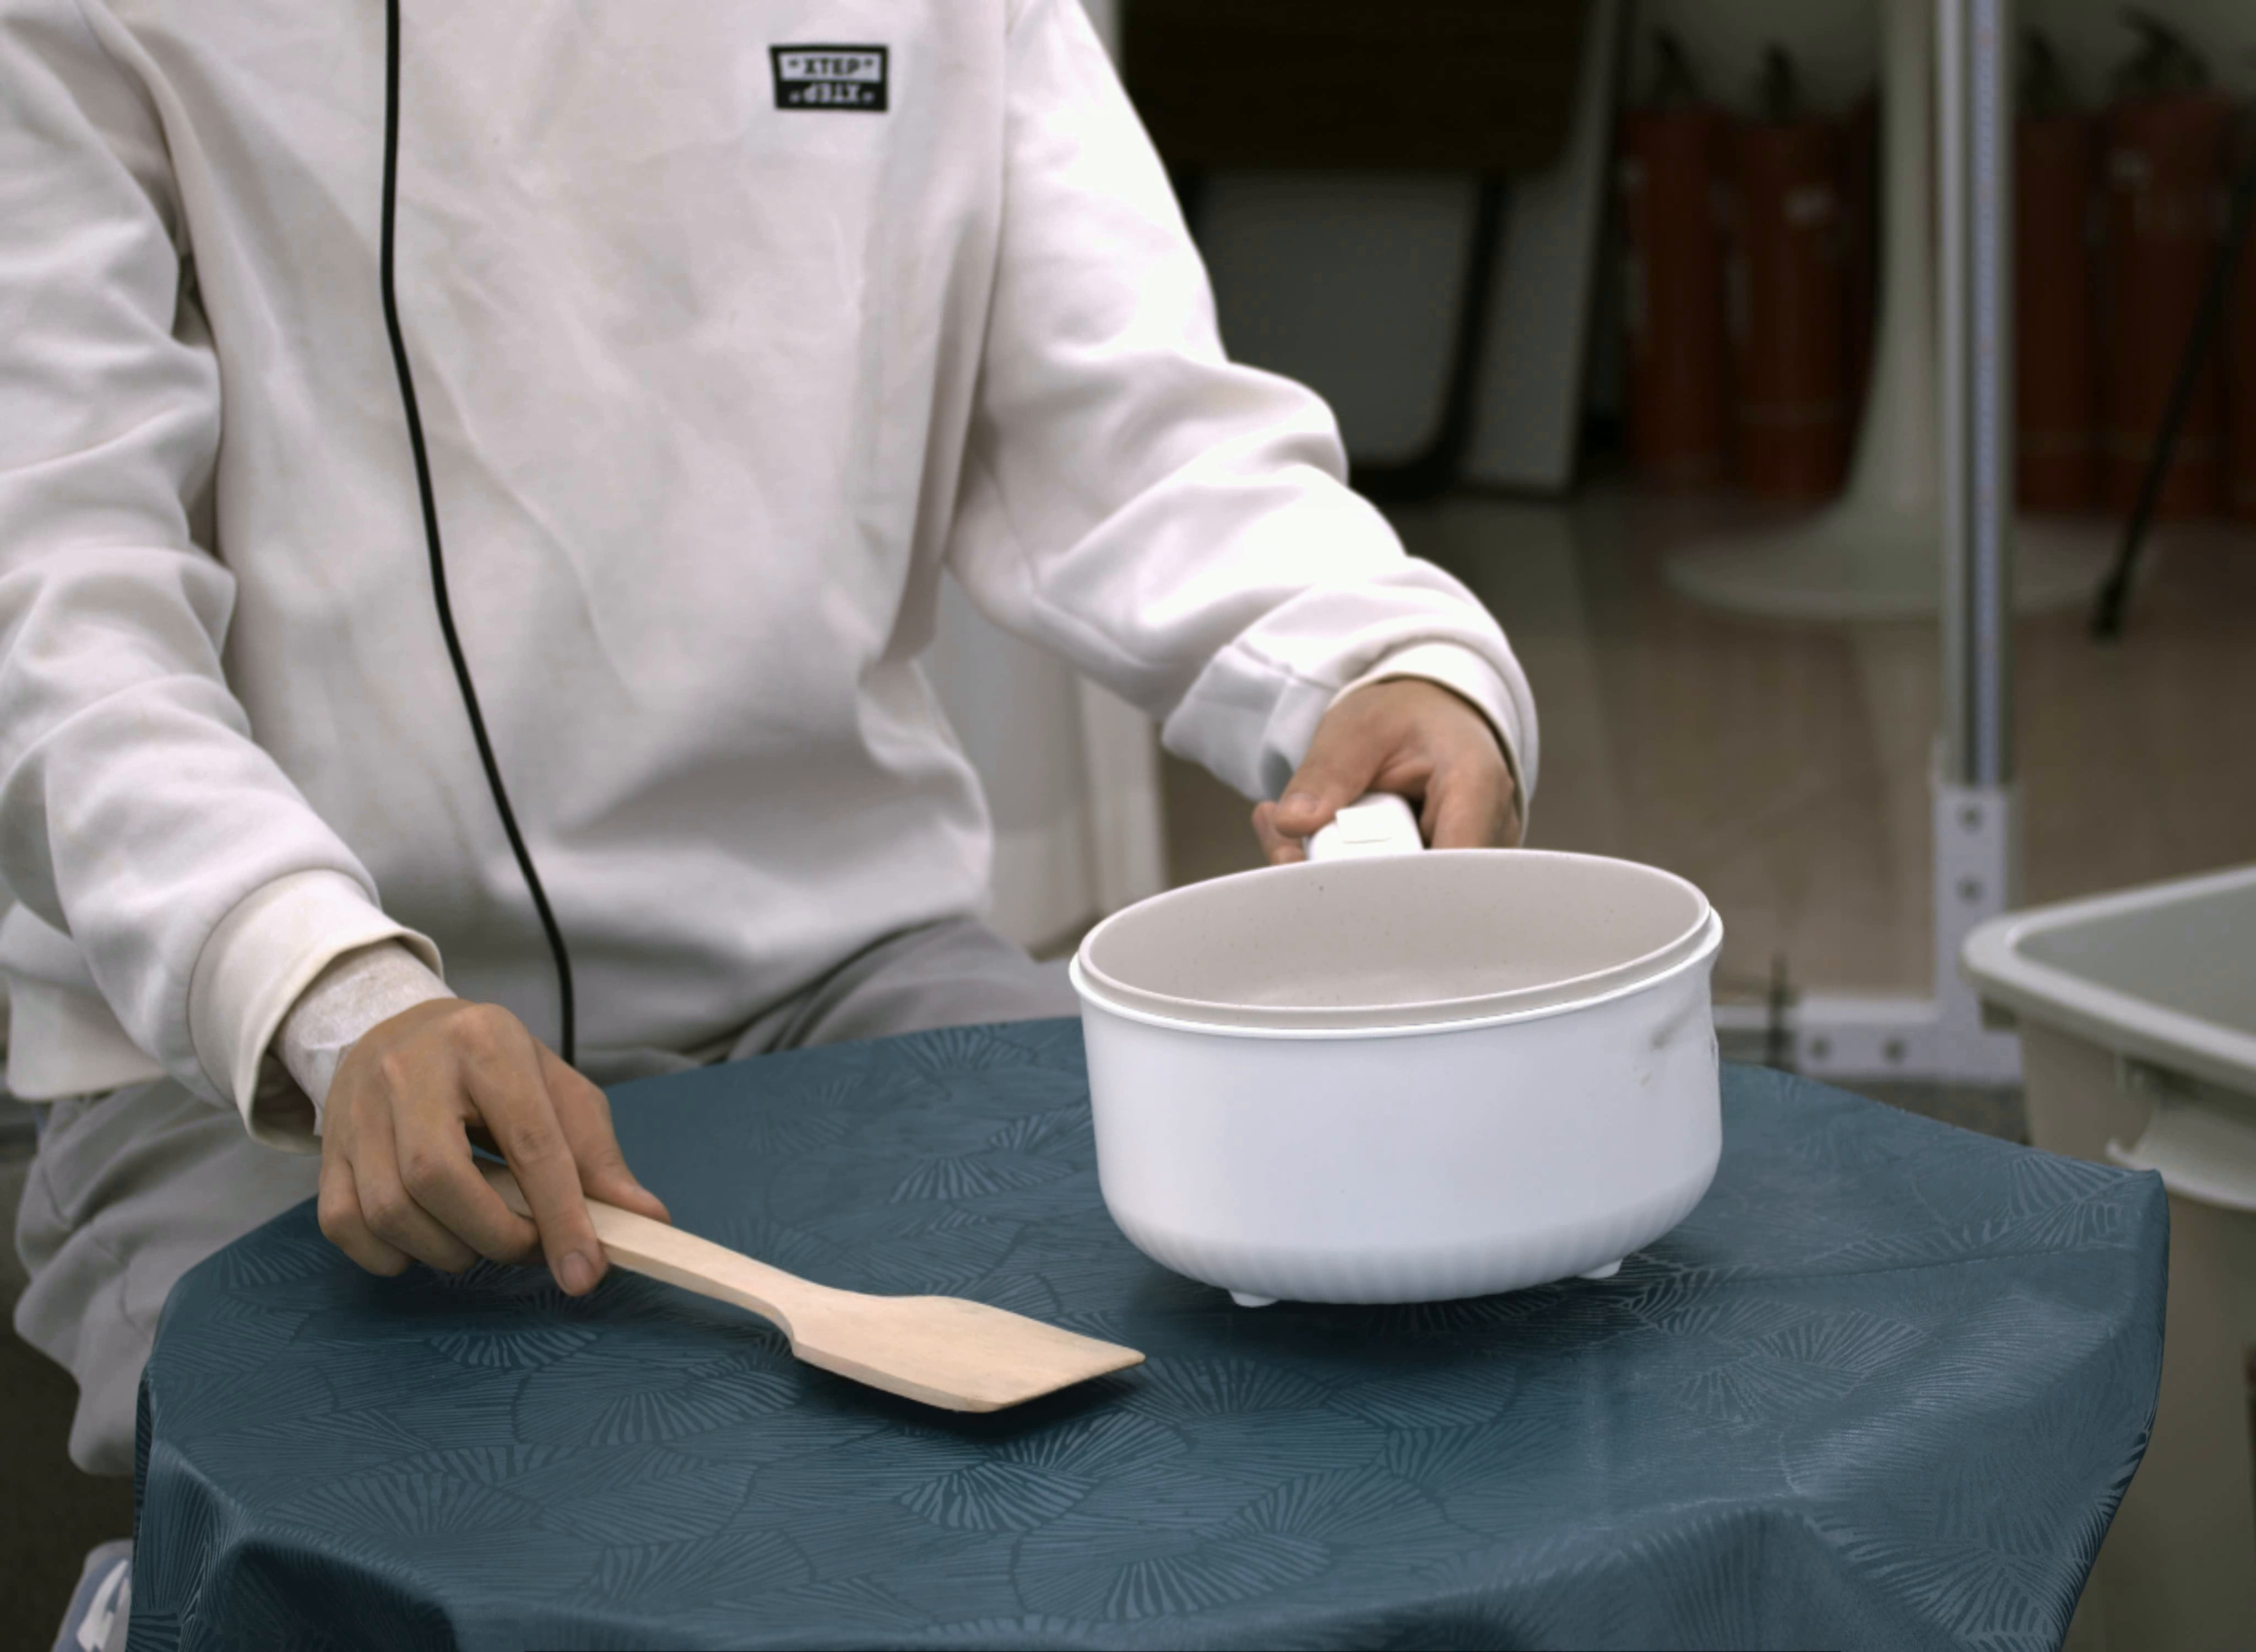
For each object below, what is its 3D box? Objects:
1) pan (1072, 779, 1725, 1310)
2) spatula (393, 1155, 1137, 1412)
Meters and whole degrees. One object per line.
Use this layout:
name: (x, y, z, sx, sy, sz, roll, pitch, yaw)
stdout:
pan: (0.085, 0.065, 1.727, 0.199, 0.103, 0.355, -6, 11, 1)
spatula: (-0.125, 0.138, 1.662, 0.295, 0.011, 0.071, 14, 17, 41)
